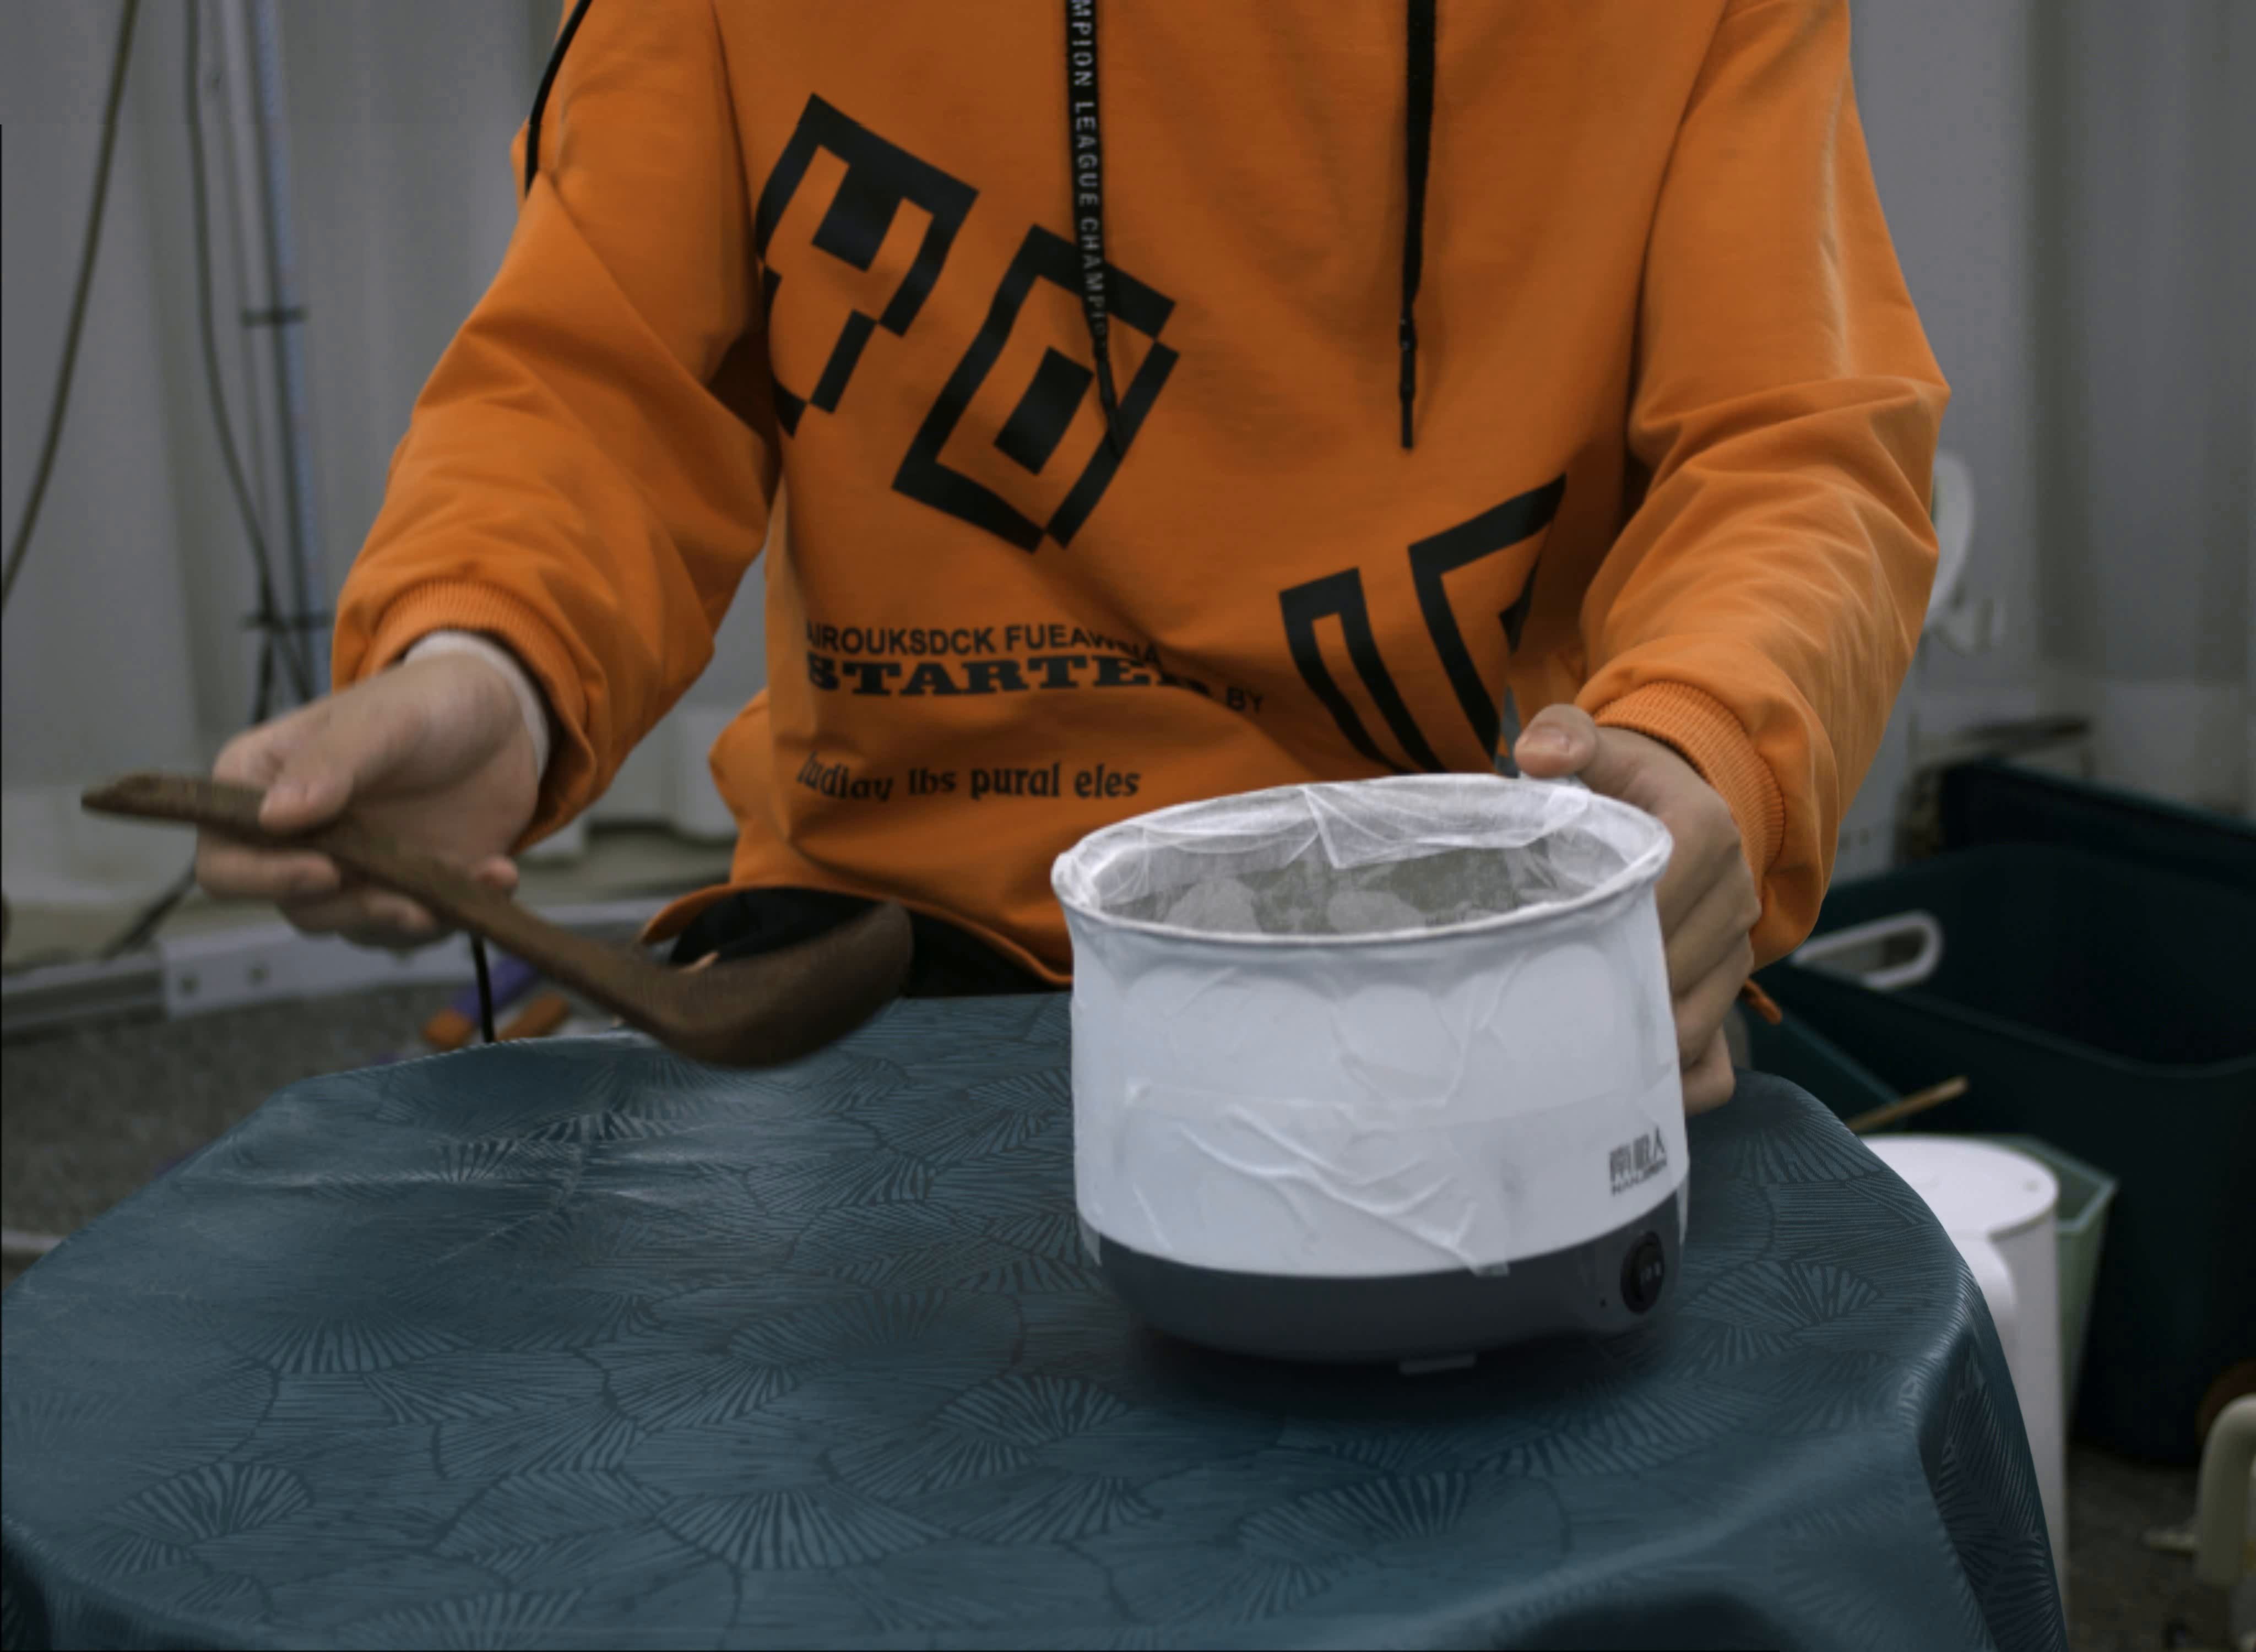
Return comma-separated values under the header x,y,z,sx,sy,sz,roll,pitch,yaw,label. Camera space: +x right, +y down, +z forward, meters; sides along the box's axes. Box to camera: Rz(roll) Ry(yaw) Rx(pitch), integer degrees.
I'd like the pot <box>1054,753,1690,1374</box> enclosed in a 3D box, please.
x,y,z,sx,sy,sz,roll,pitch,yaw,label
0.086,0.062,1.585,0.179,0.136,0.234,6,17,34,pot

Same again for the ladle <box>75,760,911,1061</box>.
x,y,z,sx,sy,sz,roll,pitch,yaw,label
-0.193,0.005,1.642,0.275,0.071,0.076,22,23,18,ladle
